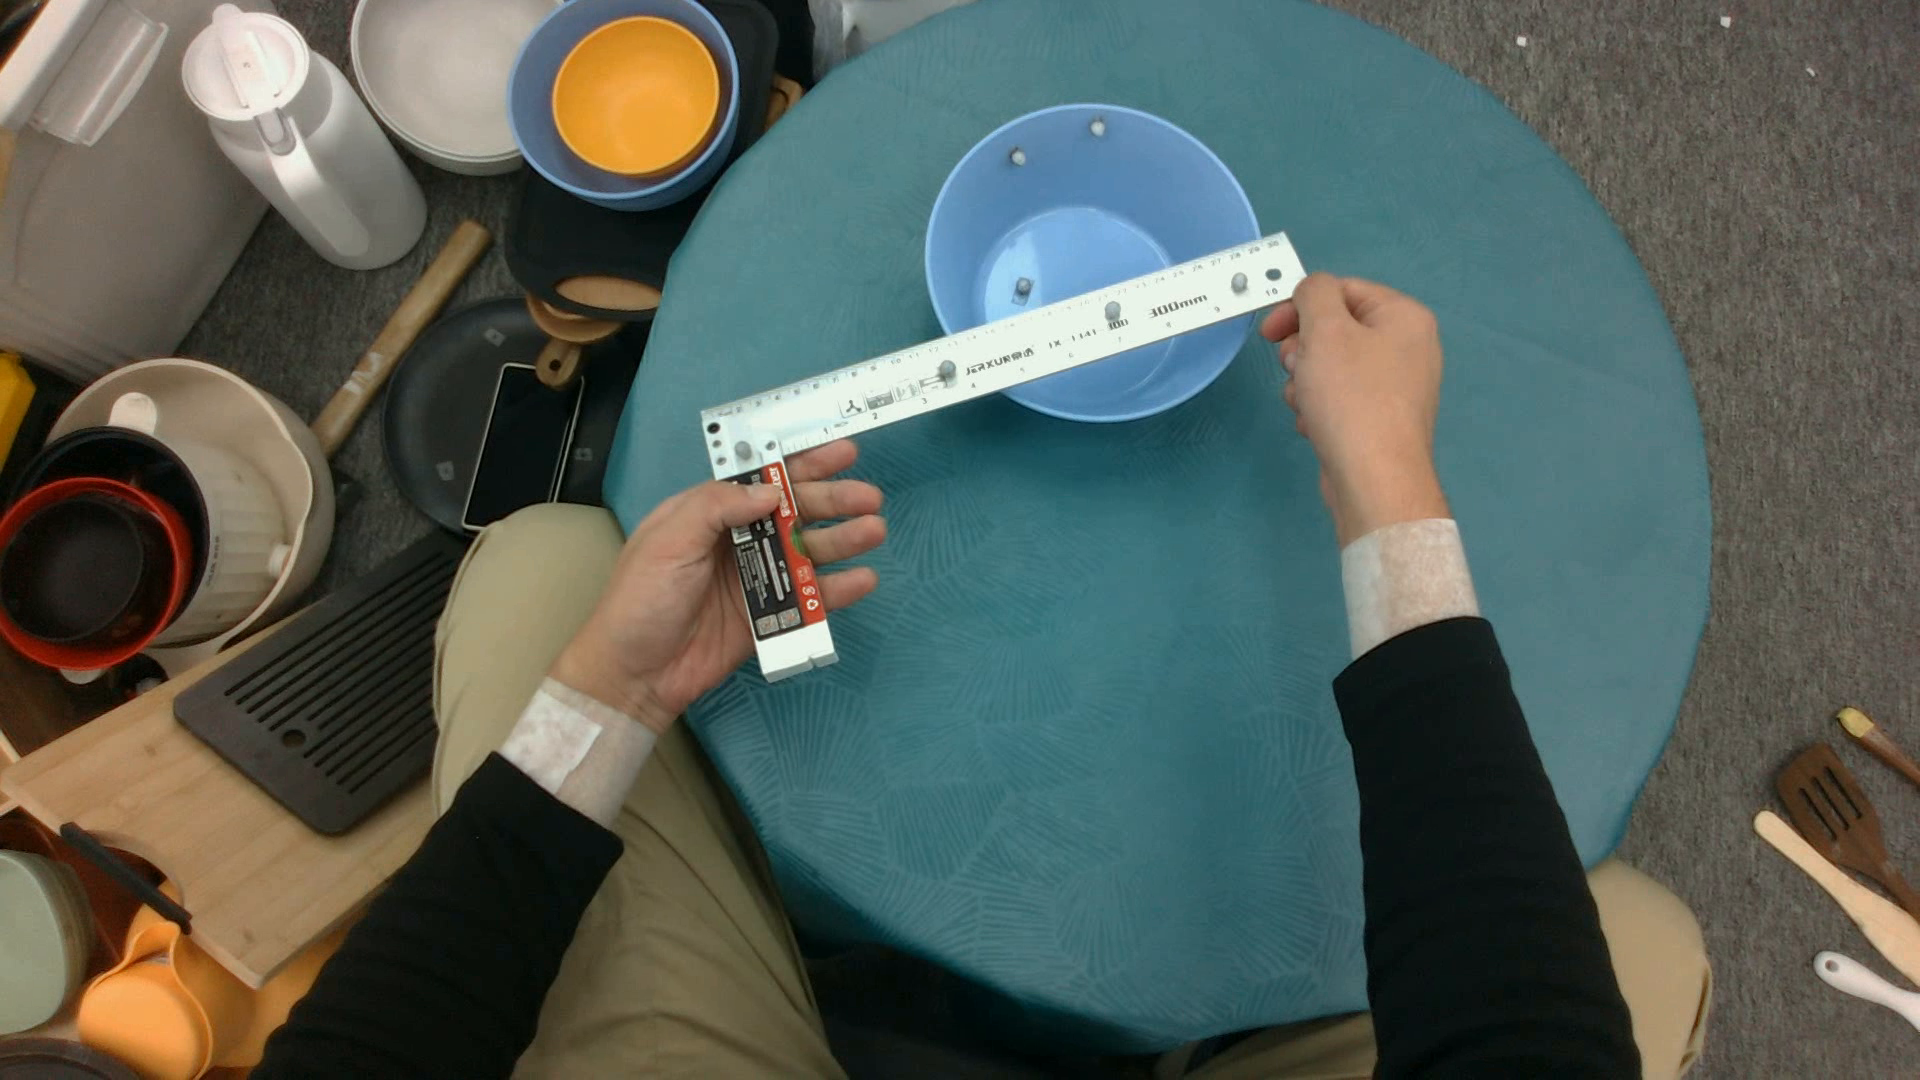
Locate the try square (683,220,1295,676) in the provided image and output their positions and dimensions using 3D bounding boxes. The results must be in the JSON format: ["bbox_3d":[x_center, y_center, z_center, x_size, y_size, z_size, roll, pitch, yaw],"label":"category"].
[{"bbox_3d":[0.029,-0.051,0.662,0.313,0.016,0.152,-18,66,-3],"label":"try square"}]

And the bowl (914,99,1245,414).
[{"bbox_3d":[0.061,-0.141,0.740,0.176,0.070,0.176,1,76,-5],"label":"bowl"}]
